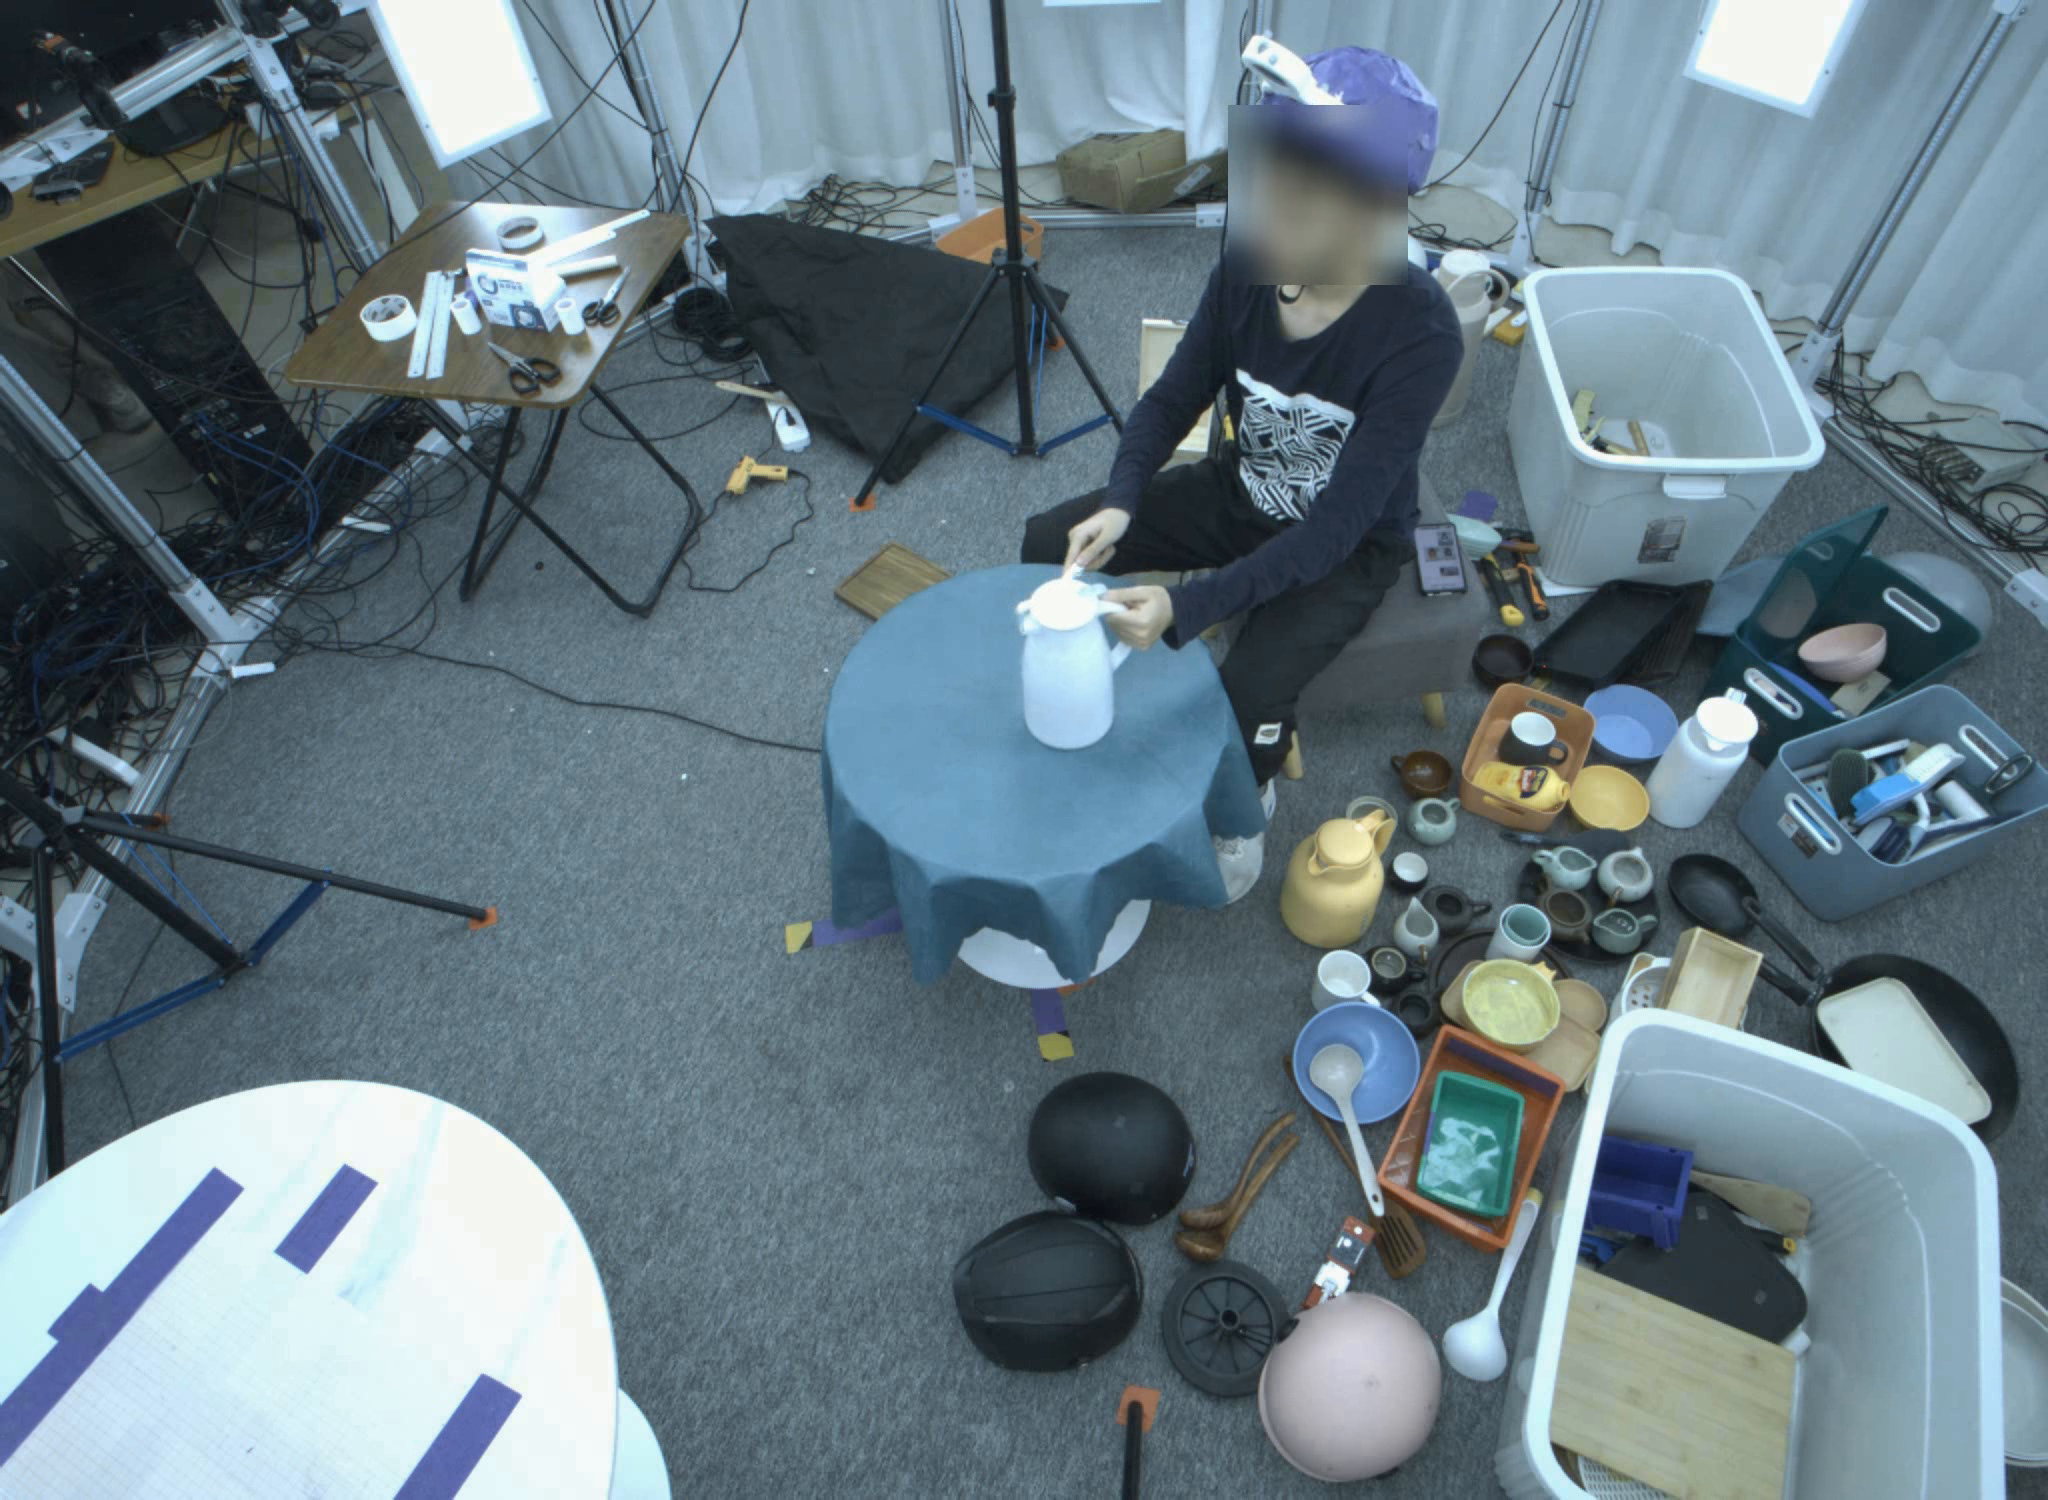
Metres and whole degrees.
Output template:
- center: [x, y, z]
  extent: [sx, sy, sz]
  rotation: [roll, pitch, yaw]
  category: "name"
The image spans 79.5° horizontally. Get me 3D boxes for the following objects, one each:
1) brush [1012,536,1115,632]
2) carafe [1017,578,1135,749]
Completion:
- center: [0.071, -0.242, 1.778]
  extent: [0.049, 0.034, 0.246]
  rotation: [39, 54, 15]
  category: "brush"
- center: [0.075, -0.134, 1.719]
  extent: [0.169, 0.251, 0.130]
  rotation: [-22, 55, -12]
  category: "carafe"
